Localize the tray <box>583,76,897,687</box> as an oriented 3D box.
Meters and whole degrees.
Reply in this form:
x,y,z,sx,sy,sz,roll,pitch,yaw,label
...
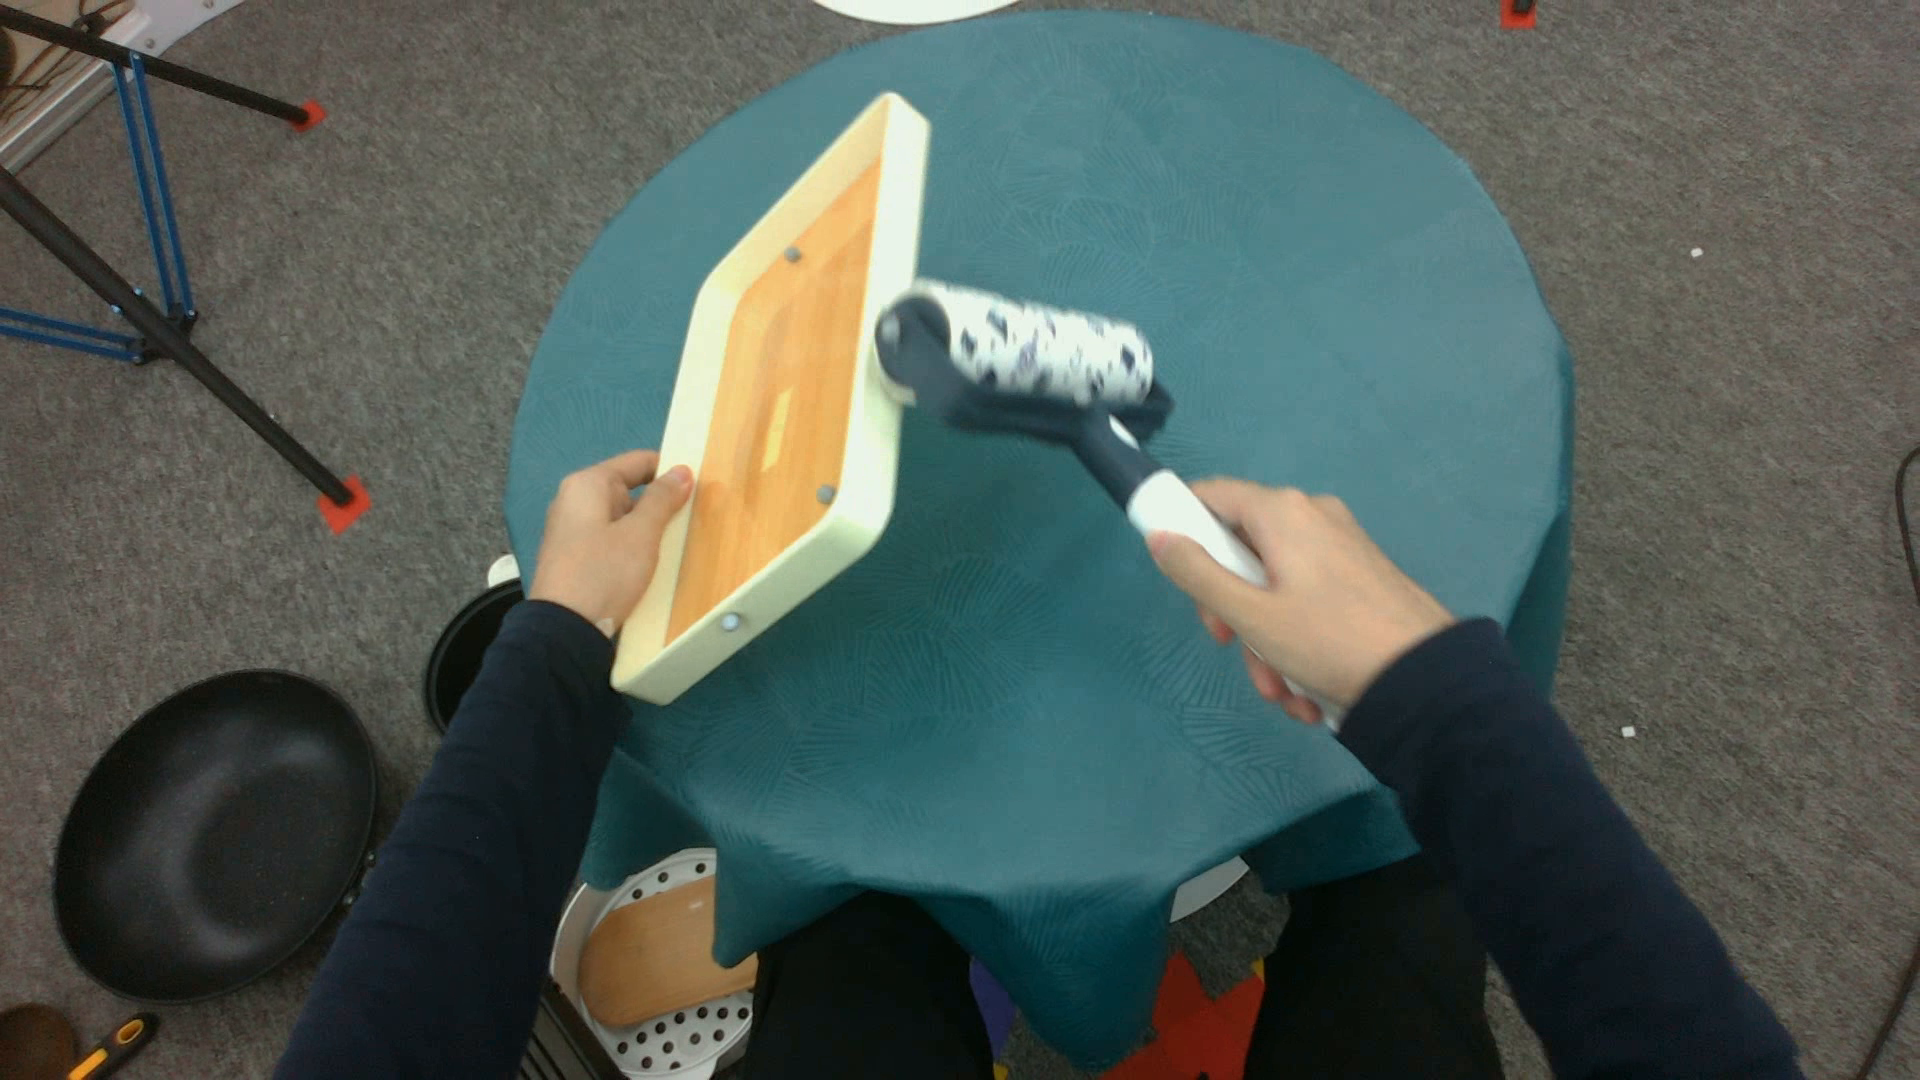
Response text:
x,y,z,sx,sy,sz,roll,pitch,yaw,label
-0.106,-0.087,0.693,0.190,0.027,0.301,-34,40,35,tray

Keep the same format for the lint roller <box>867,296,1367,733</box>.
x,y,z,sx,sy,sz,roll,pitch,yaw,label
0.087,-0.017,0.599,0.247,0.177,0.050,46,117,26,lint roller
